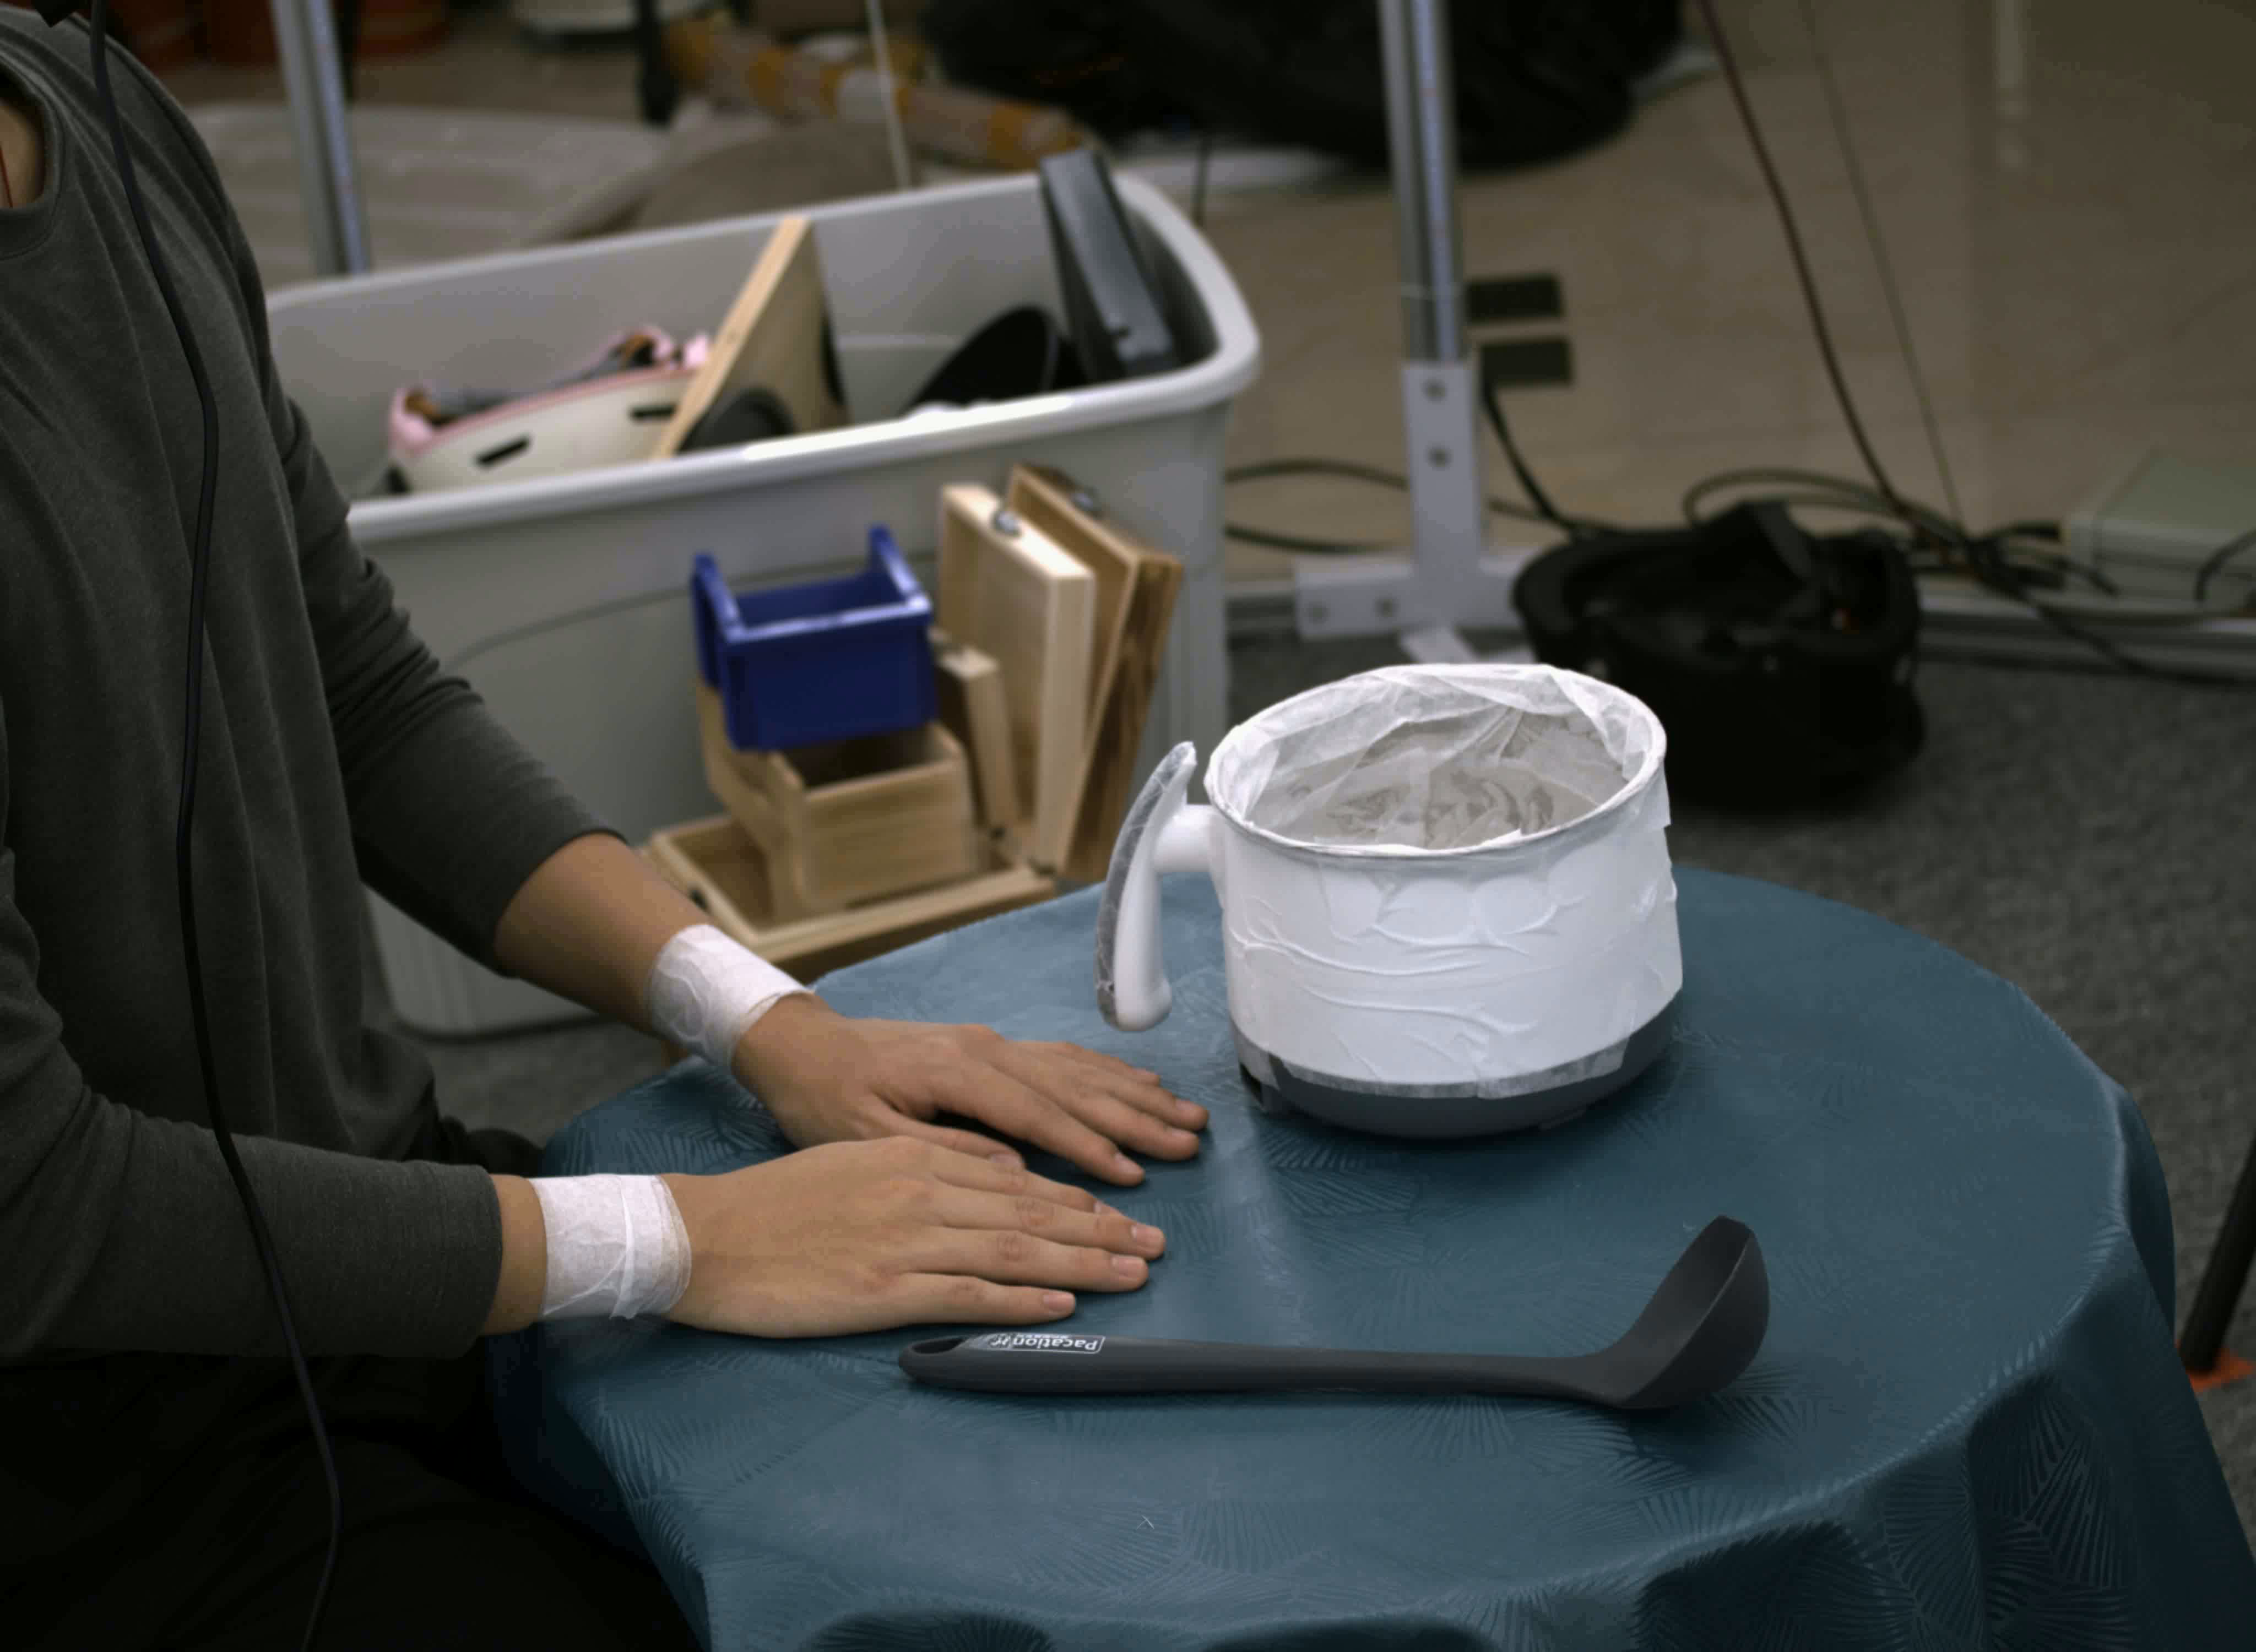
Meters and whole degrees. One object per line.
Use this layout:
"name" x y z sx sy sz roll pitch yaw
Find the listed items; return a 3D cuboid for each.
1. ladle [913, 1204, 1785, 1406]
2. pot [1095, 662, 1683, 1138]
"ladle" 0.073 0.170 1.990 0.313 0.065 0.085 0 21 14
"pot" 0.097 0.030 2.197 0.233 0.139 0.176 0 26 14
